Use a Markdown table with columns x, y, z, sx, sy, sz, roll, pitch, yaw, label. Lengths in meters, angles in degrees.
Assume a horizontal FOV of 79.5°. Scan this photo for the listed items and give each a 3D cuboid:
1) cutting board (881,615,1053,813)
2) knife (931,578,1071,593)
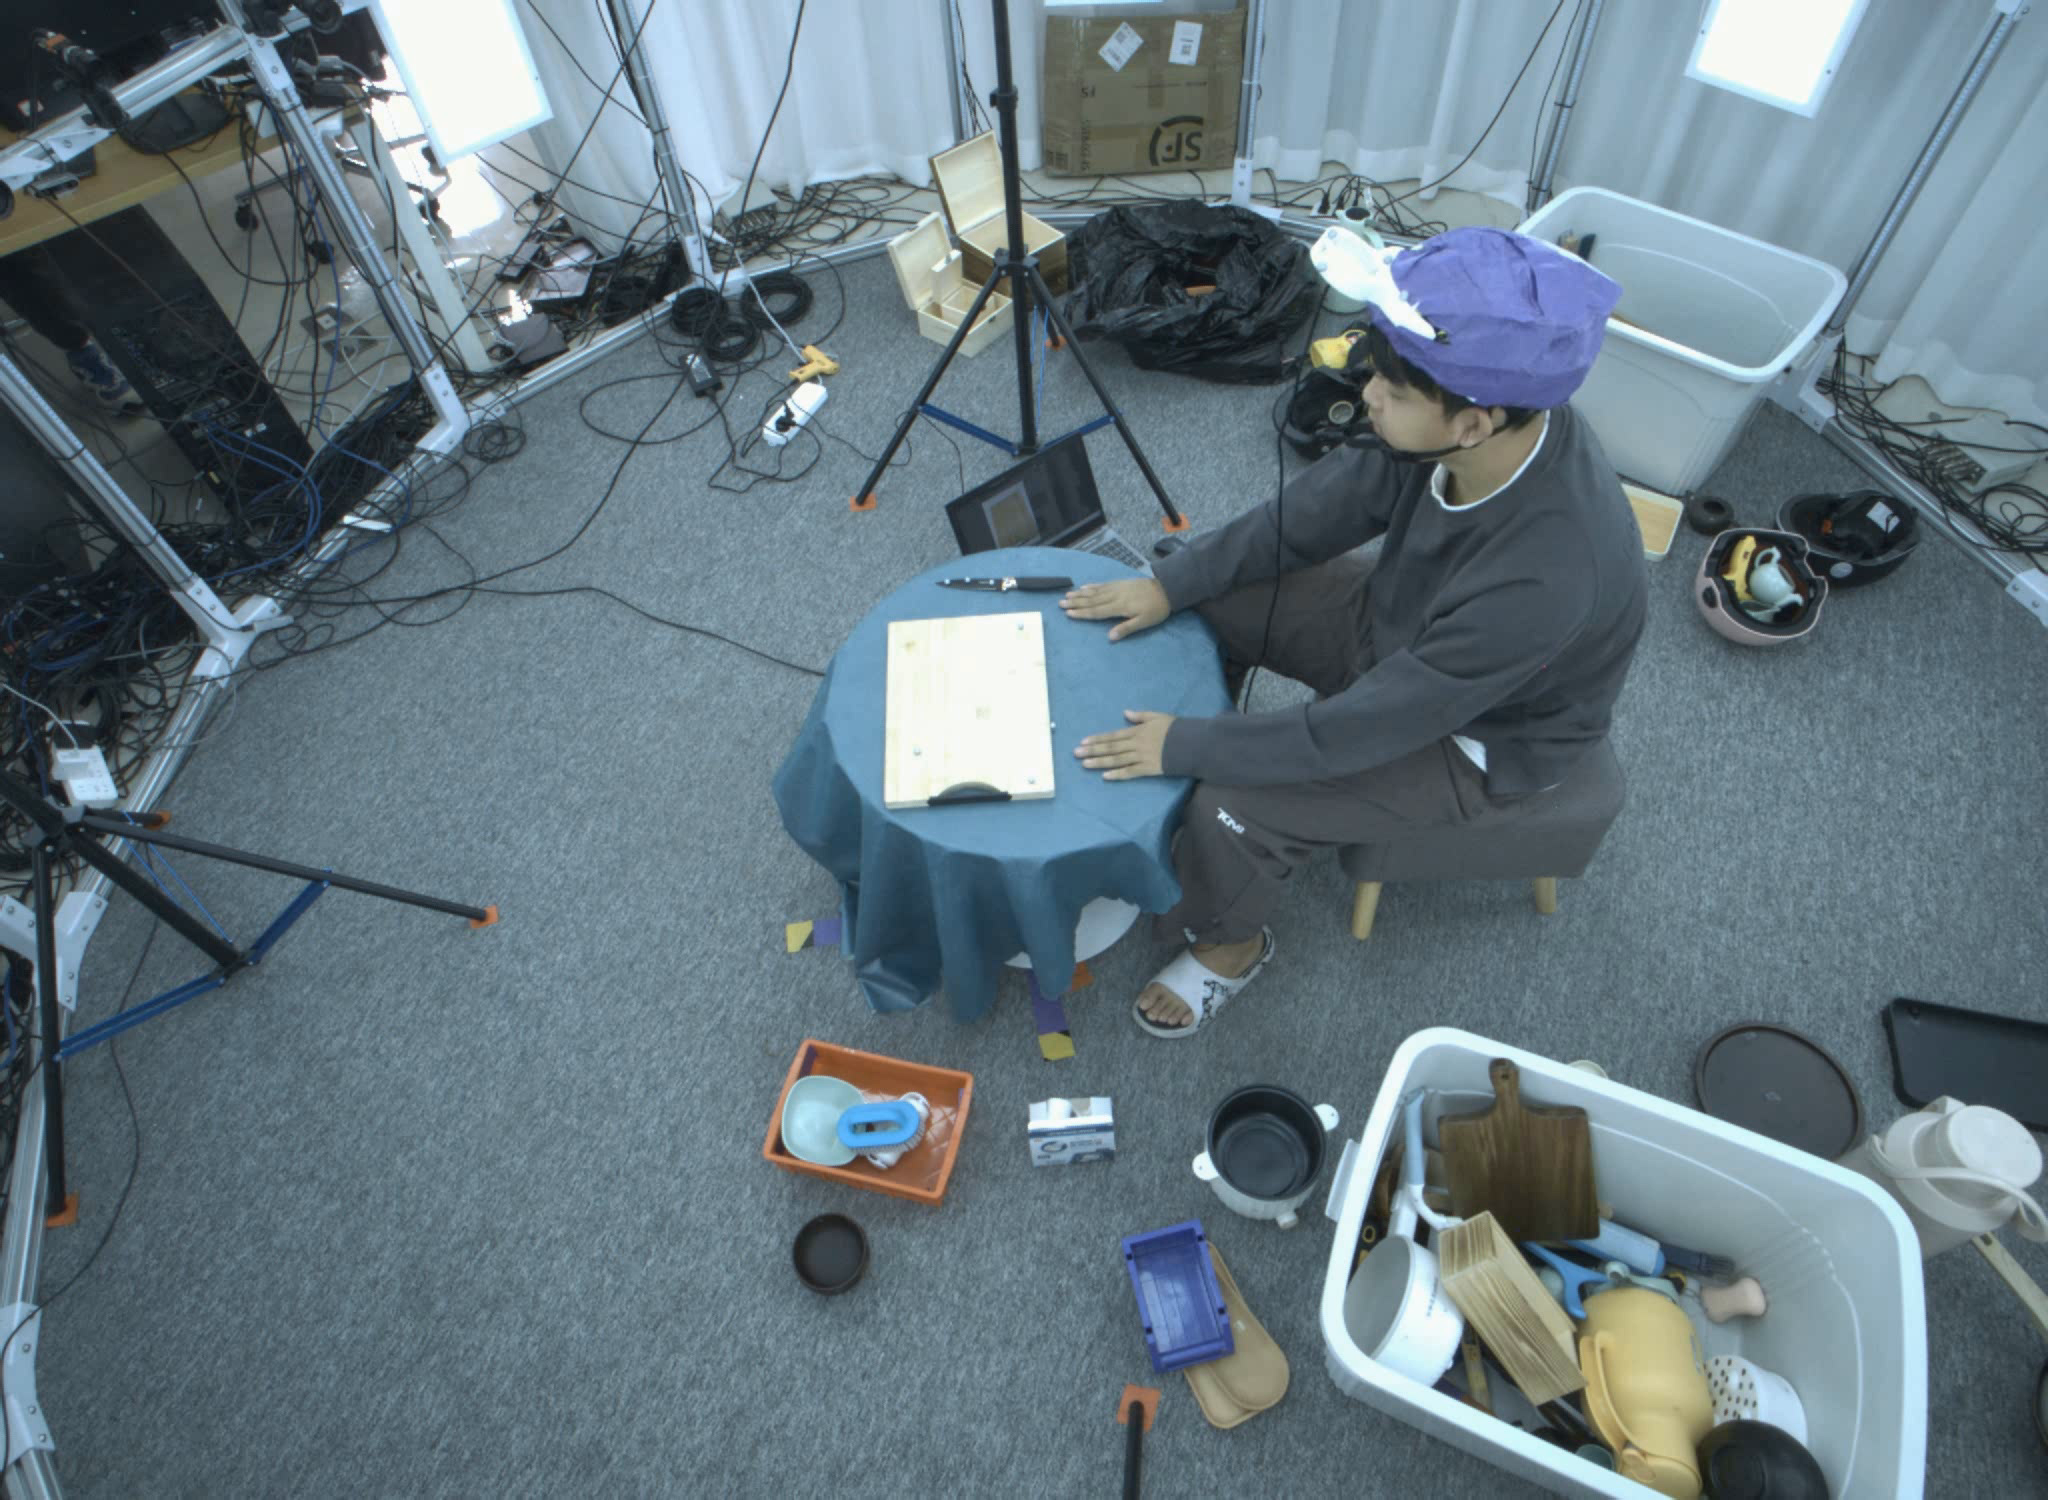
| x | y | z | sx | sy | sz | roll | pitch | yaw | label |
| --- | --- | --- | --- | --- | --- | --- | --- | --- | --- |
| -0.086 | -0.062 | 1.824 | 0.251 | 0.024 | 0.344 | -4 | 55 | -1 | cutting board |
| -0.038 | -0.264 | 1.969 | 0.225 | 0.017 | 0.026 | 2 | 61 | 4 | knife |
